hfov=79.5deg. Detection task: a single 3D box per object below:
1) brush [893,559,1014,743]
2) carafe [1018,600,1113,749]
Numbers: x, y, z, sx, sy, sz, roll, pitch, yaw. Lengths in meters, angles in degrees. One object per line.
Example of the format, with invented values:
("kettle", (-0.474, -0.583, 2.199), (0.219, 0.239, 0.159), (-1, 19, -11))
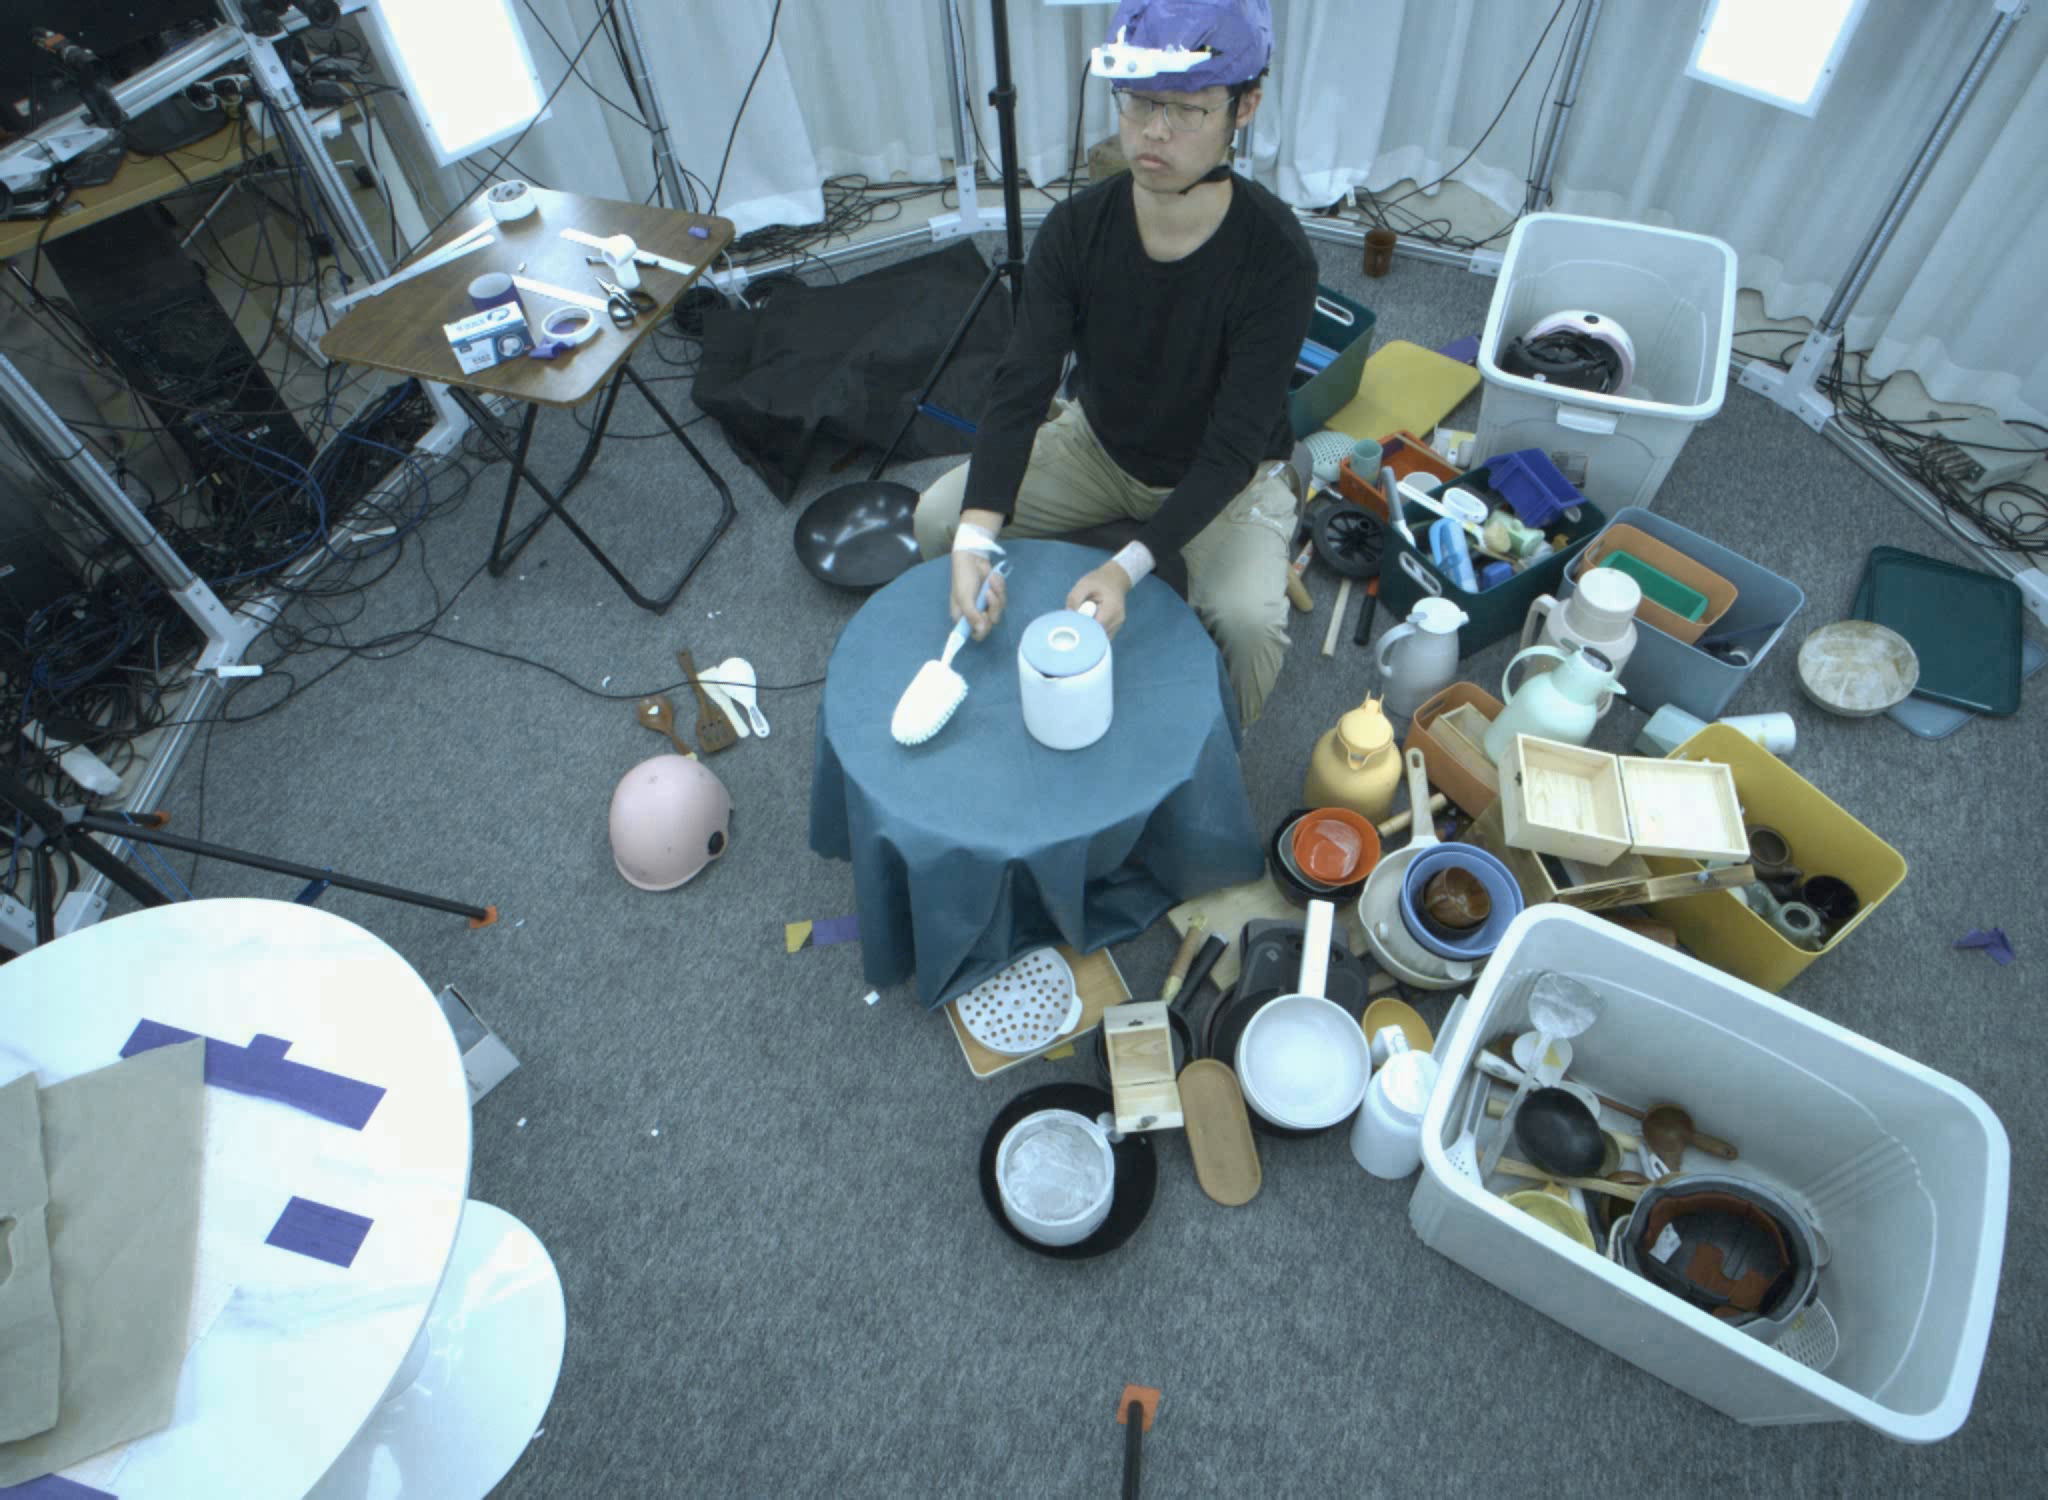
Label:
("brush", (-0.091, -0.152, 1.802), (0.083, 0.084, 0.325), (26, 77, 22))
("carafe", (0.069, -0.118, 1.763), (0.131, 0.184, 0.191), (15, 56, 13))
